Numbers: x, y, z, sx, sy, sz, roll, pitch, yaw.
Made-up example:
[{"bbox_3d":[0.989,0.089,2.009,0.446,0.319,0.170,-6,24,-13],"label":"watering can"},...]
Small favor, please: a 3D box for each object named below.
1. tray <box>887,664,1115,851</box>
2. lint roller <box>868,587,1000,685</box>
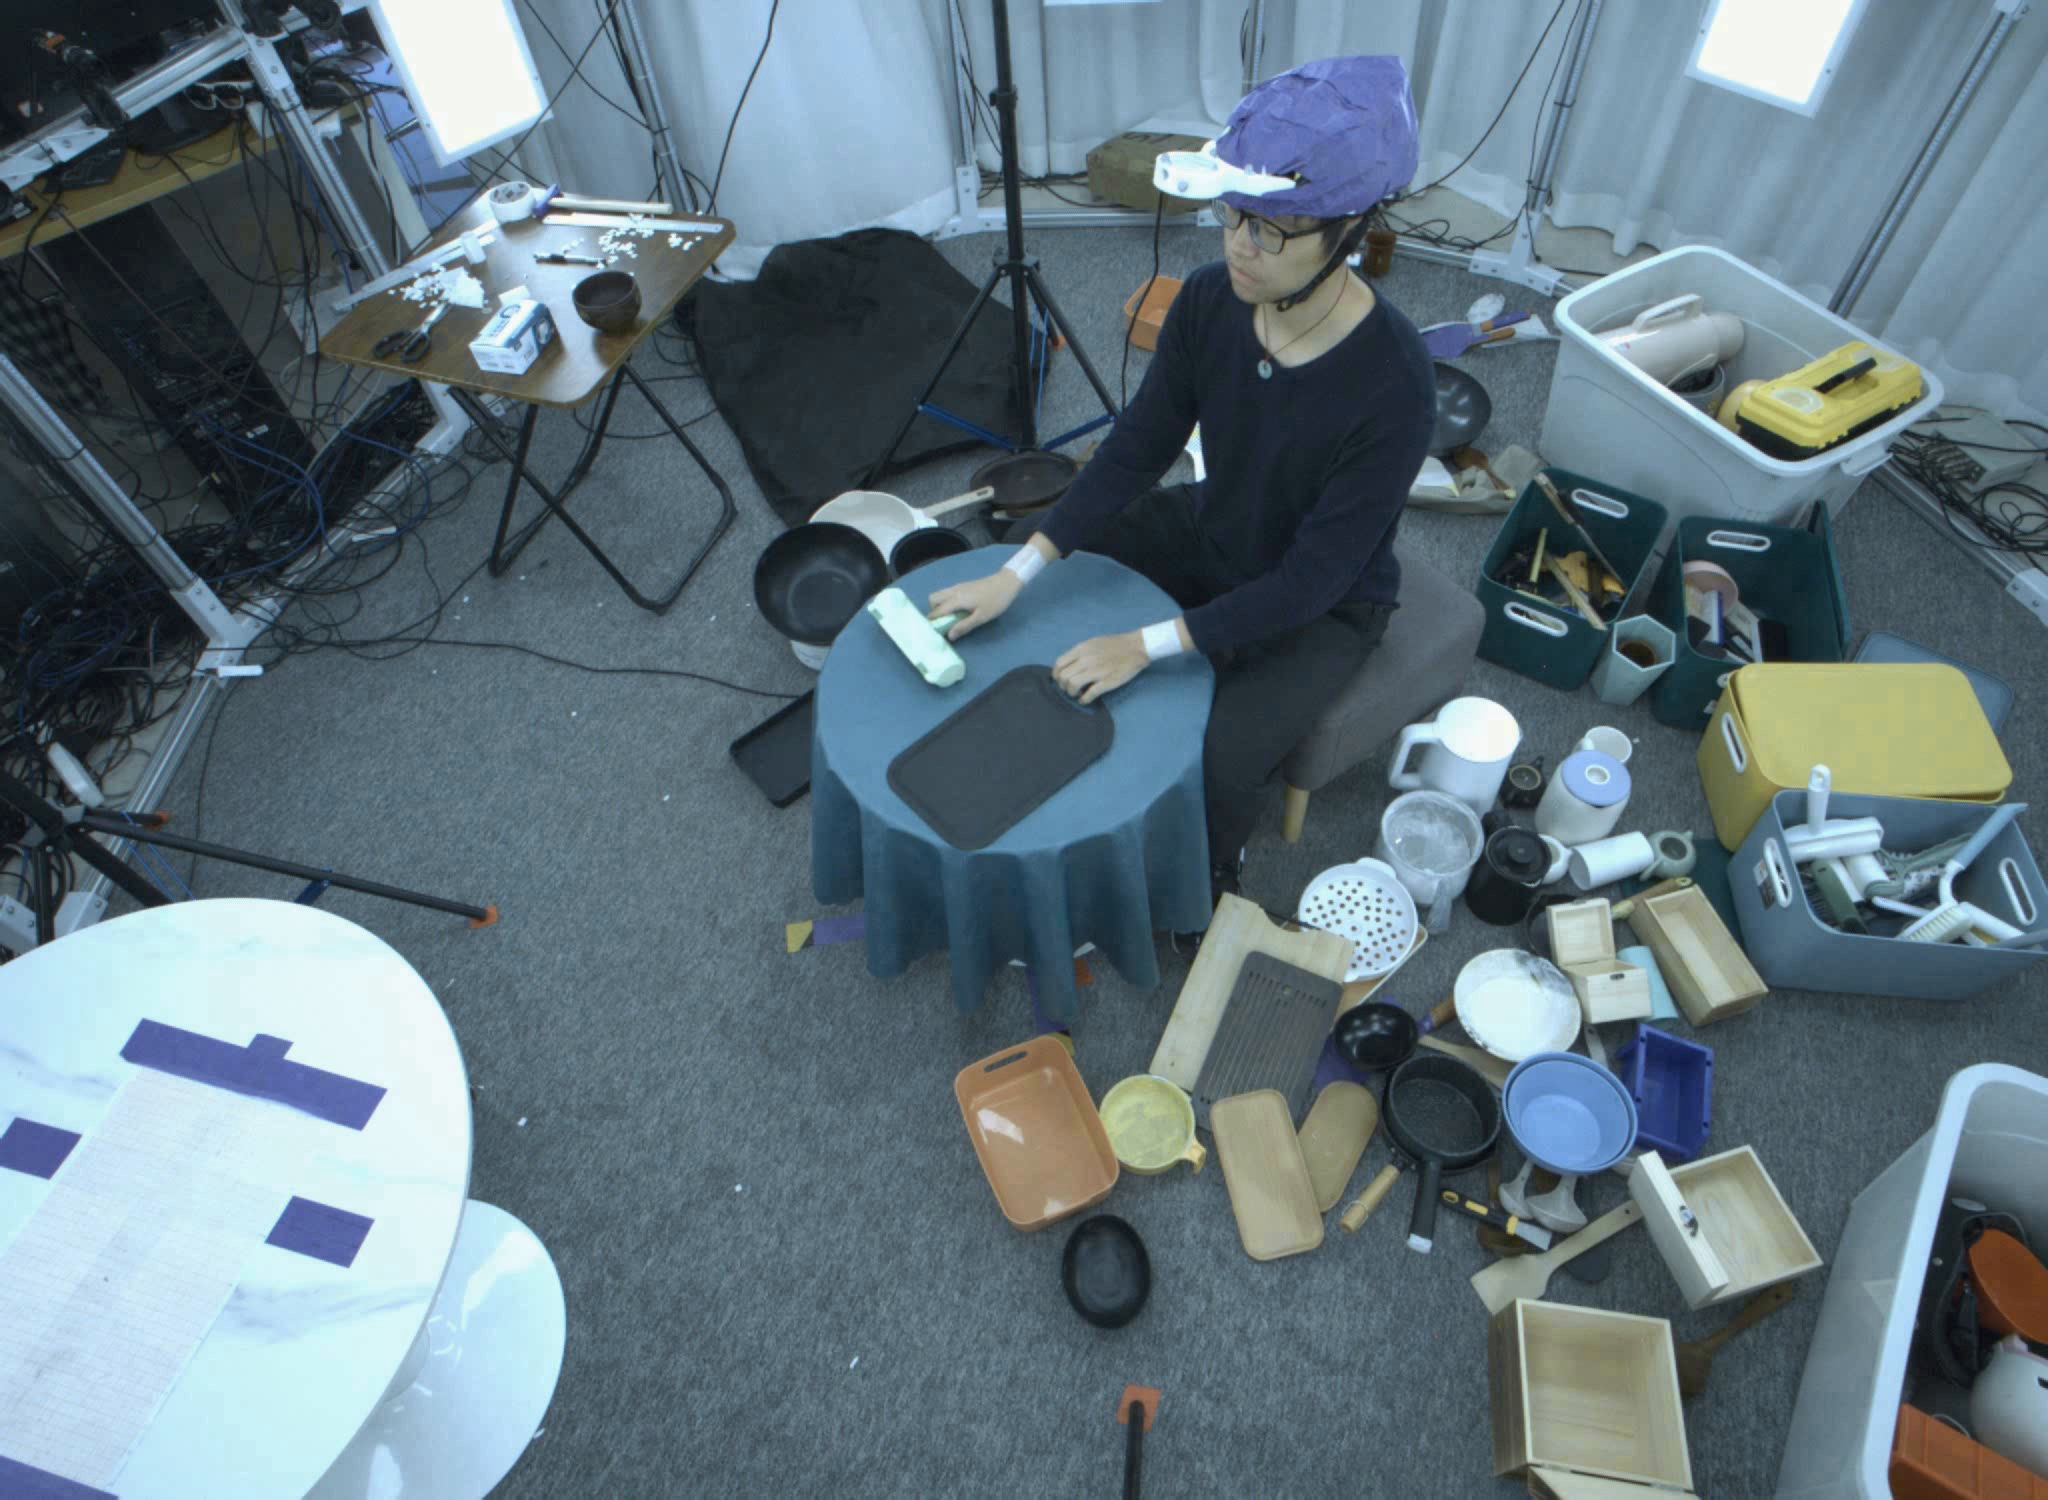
[{"bbox_3d":[-0.028,-0.002,1.782,0.327,0.010,0.207,-38,62,-20],"label":"tray"},{"bbox_3d":[-0.119,-0.211,1.888,0.184,0.083,0.195,-34,61,-13],"label":"lint roller"}]
